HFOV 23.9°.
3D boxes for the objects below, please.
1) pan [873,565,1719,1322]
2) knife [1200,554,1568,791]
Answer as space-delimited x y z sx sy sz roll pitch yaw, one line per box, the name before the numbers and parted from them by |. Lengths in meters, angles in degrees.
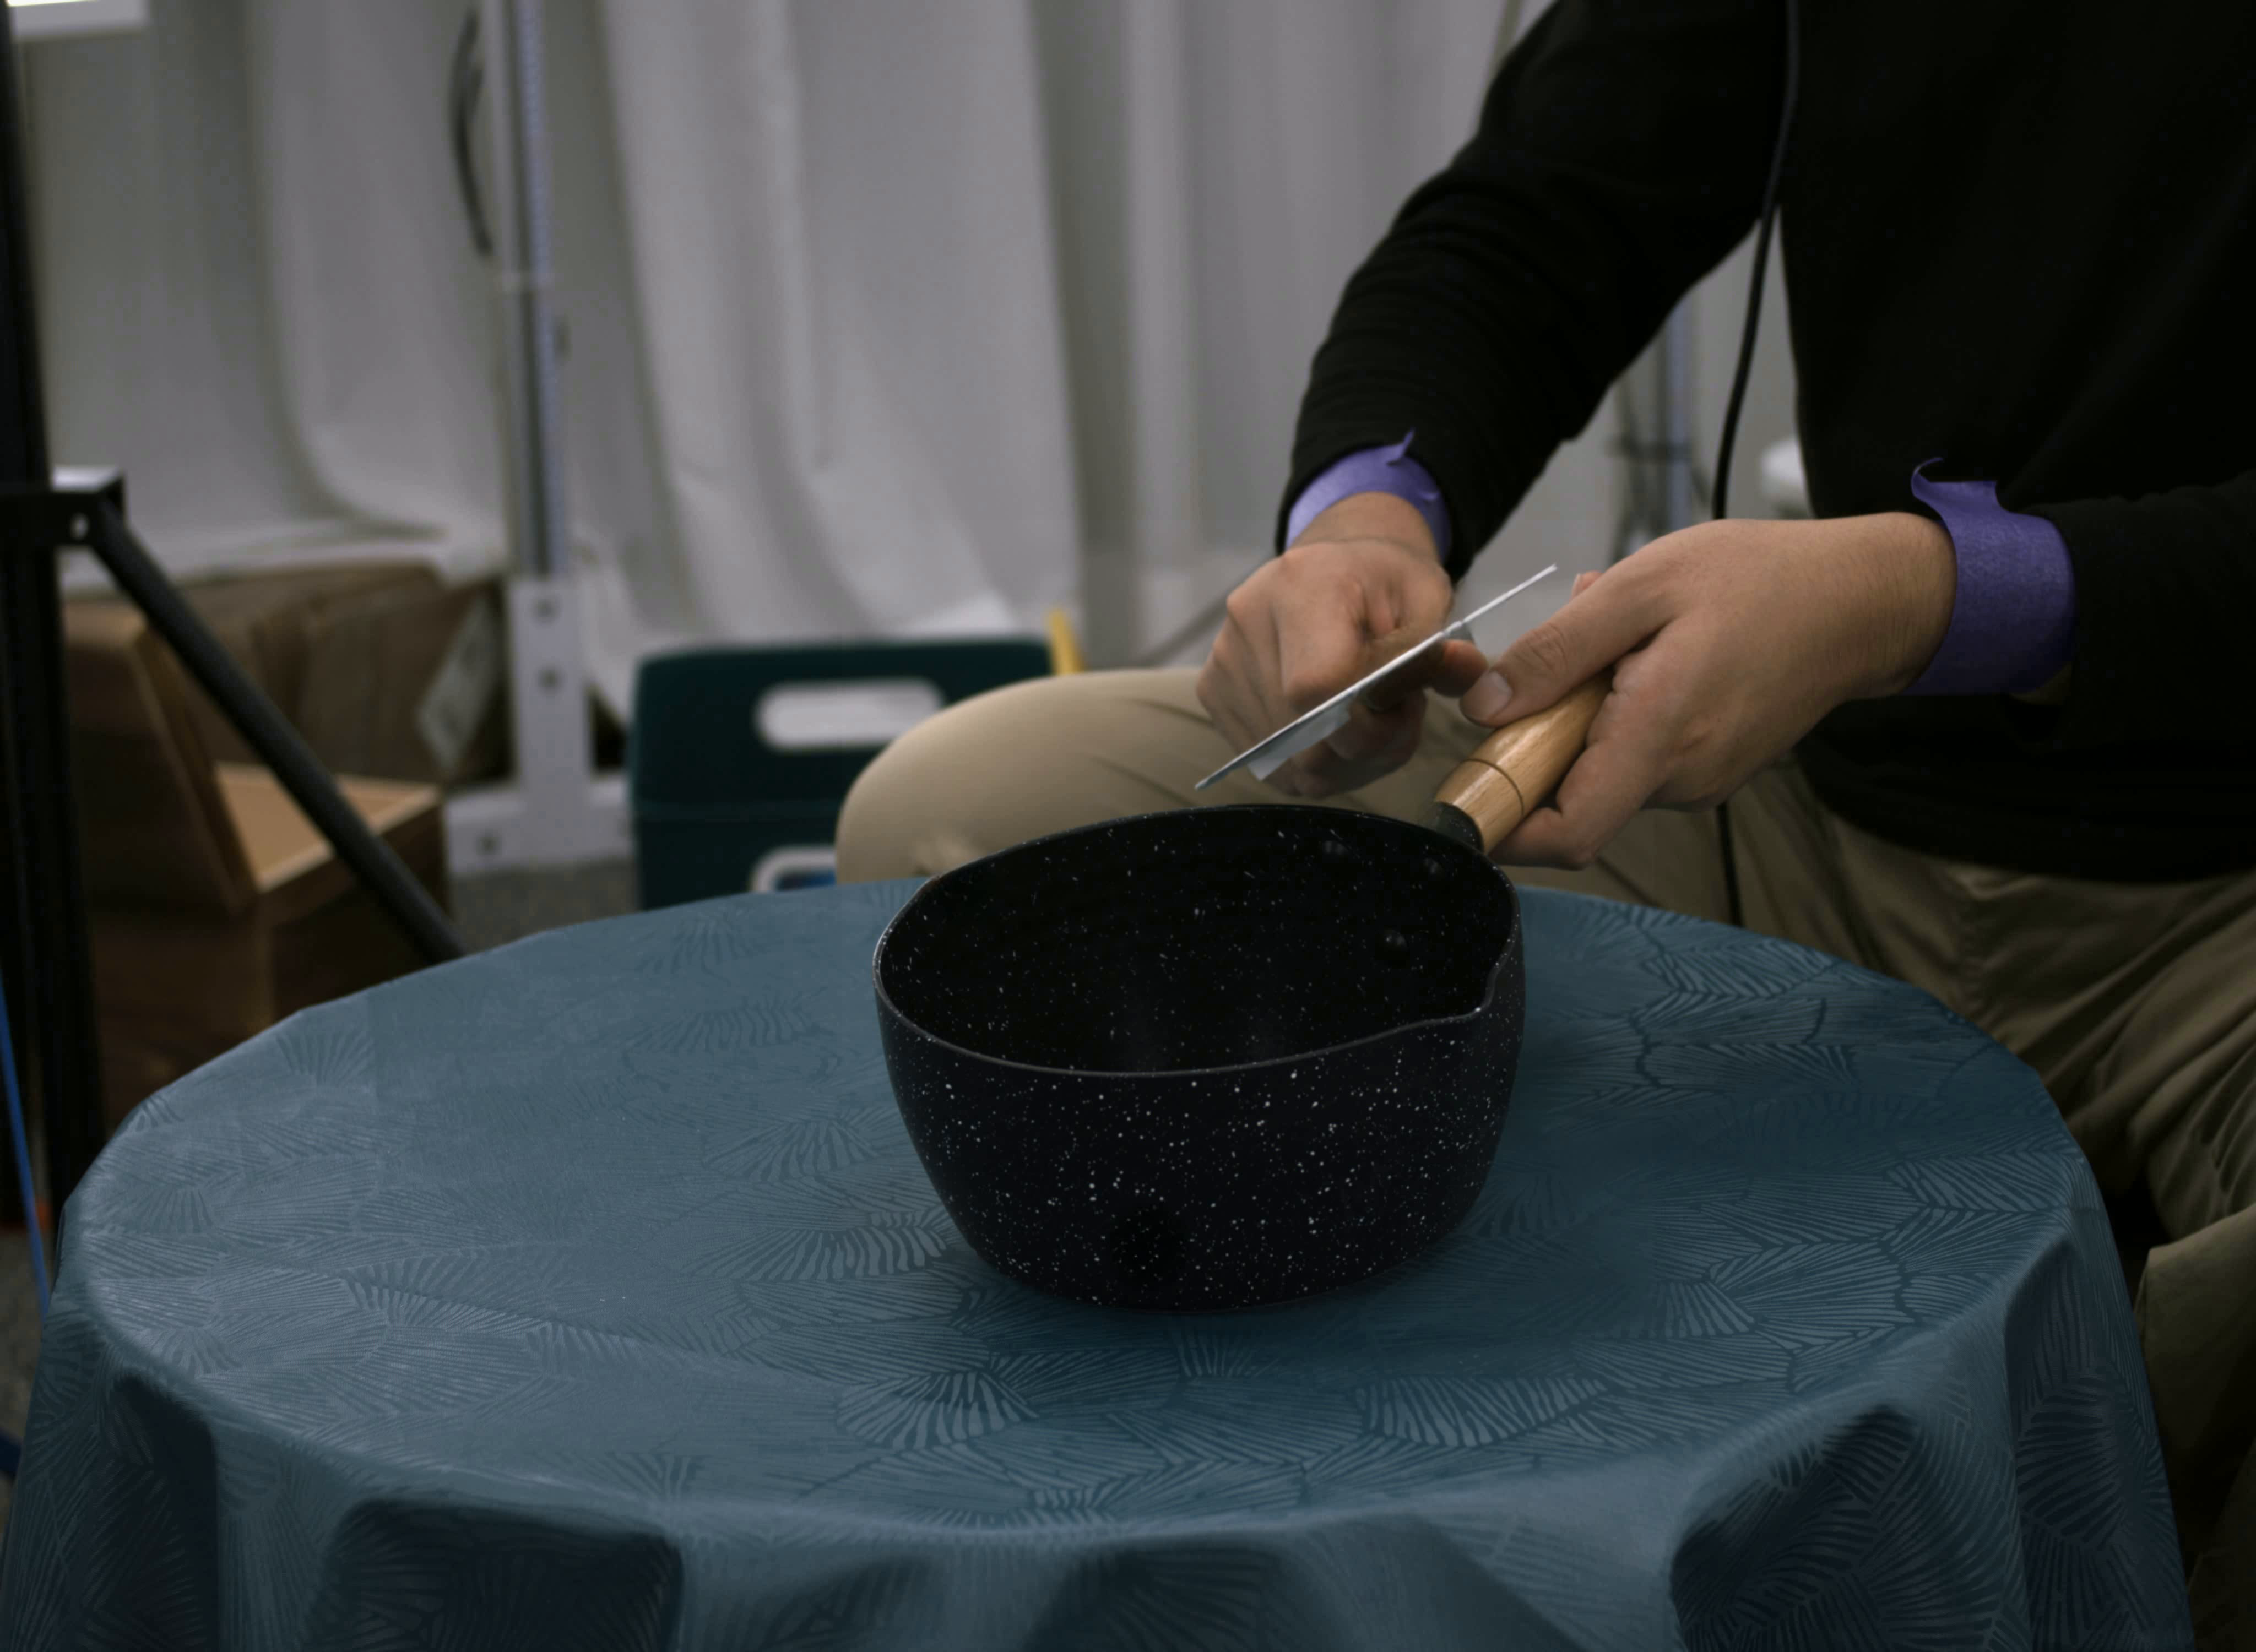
pan | 0.071 0.030 1.556 0.212 0.108 0.337 12 30 38
knife | 0.066 -0.039 1.621 0.092 0.021 0.307 -31 0 -9
